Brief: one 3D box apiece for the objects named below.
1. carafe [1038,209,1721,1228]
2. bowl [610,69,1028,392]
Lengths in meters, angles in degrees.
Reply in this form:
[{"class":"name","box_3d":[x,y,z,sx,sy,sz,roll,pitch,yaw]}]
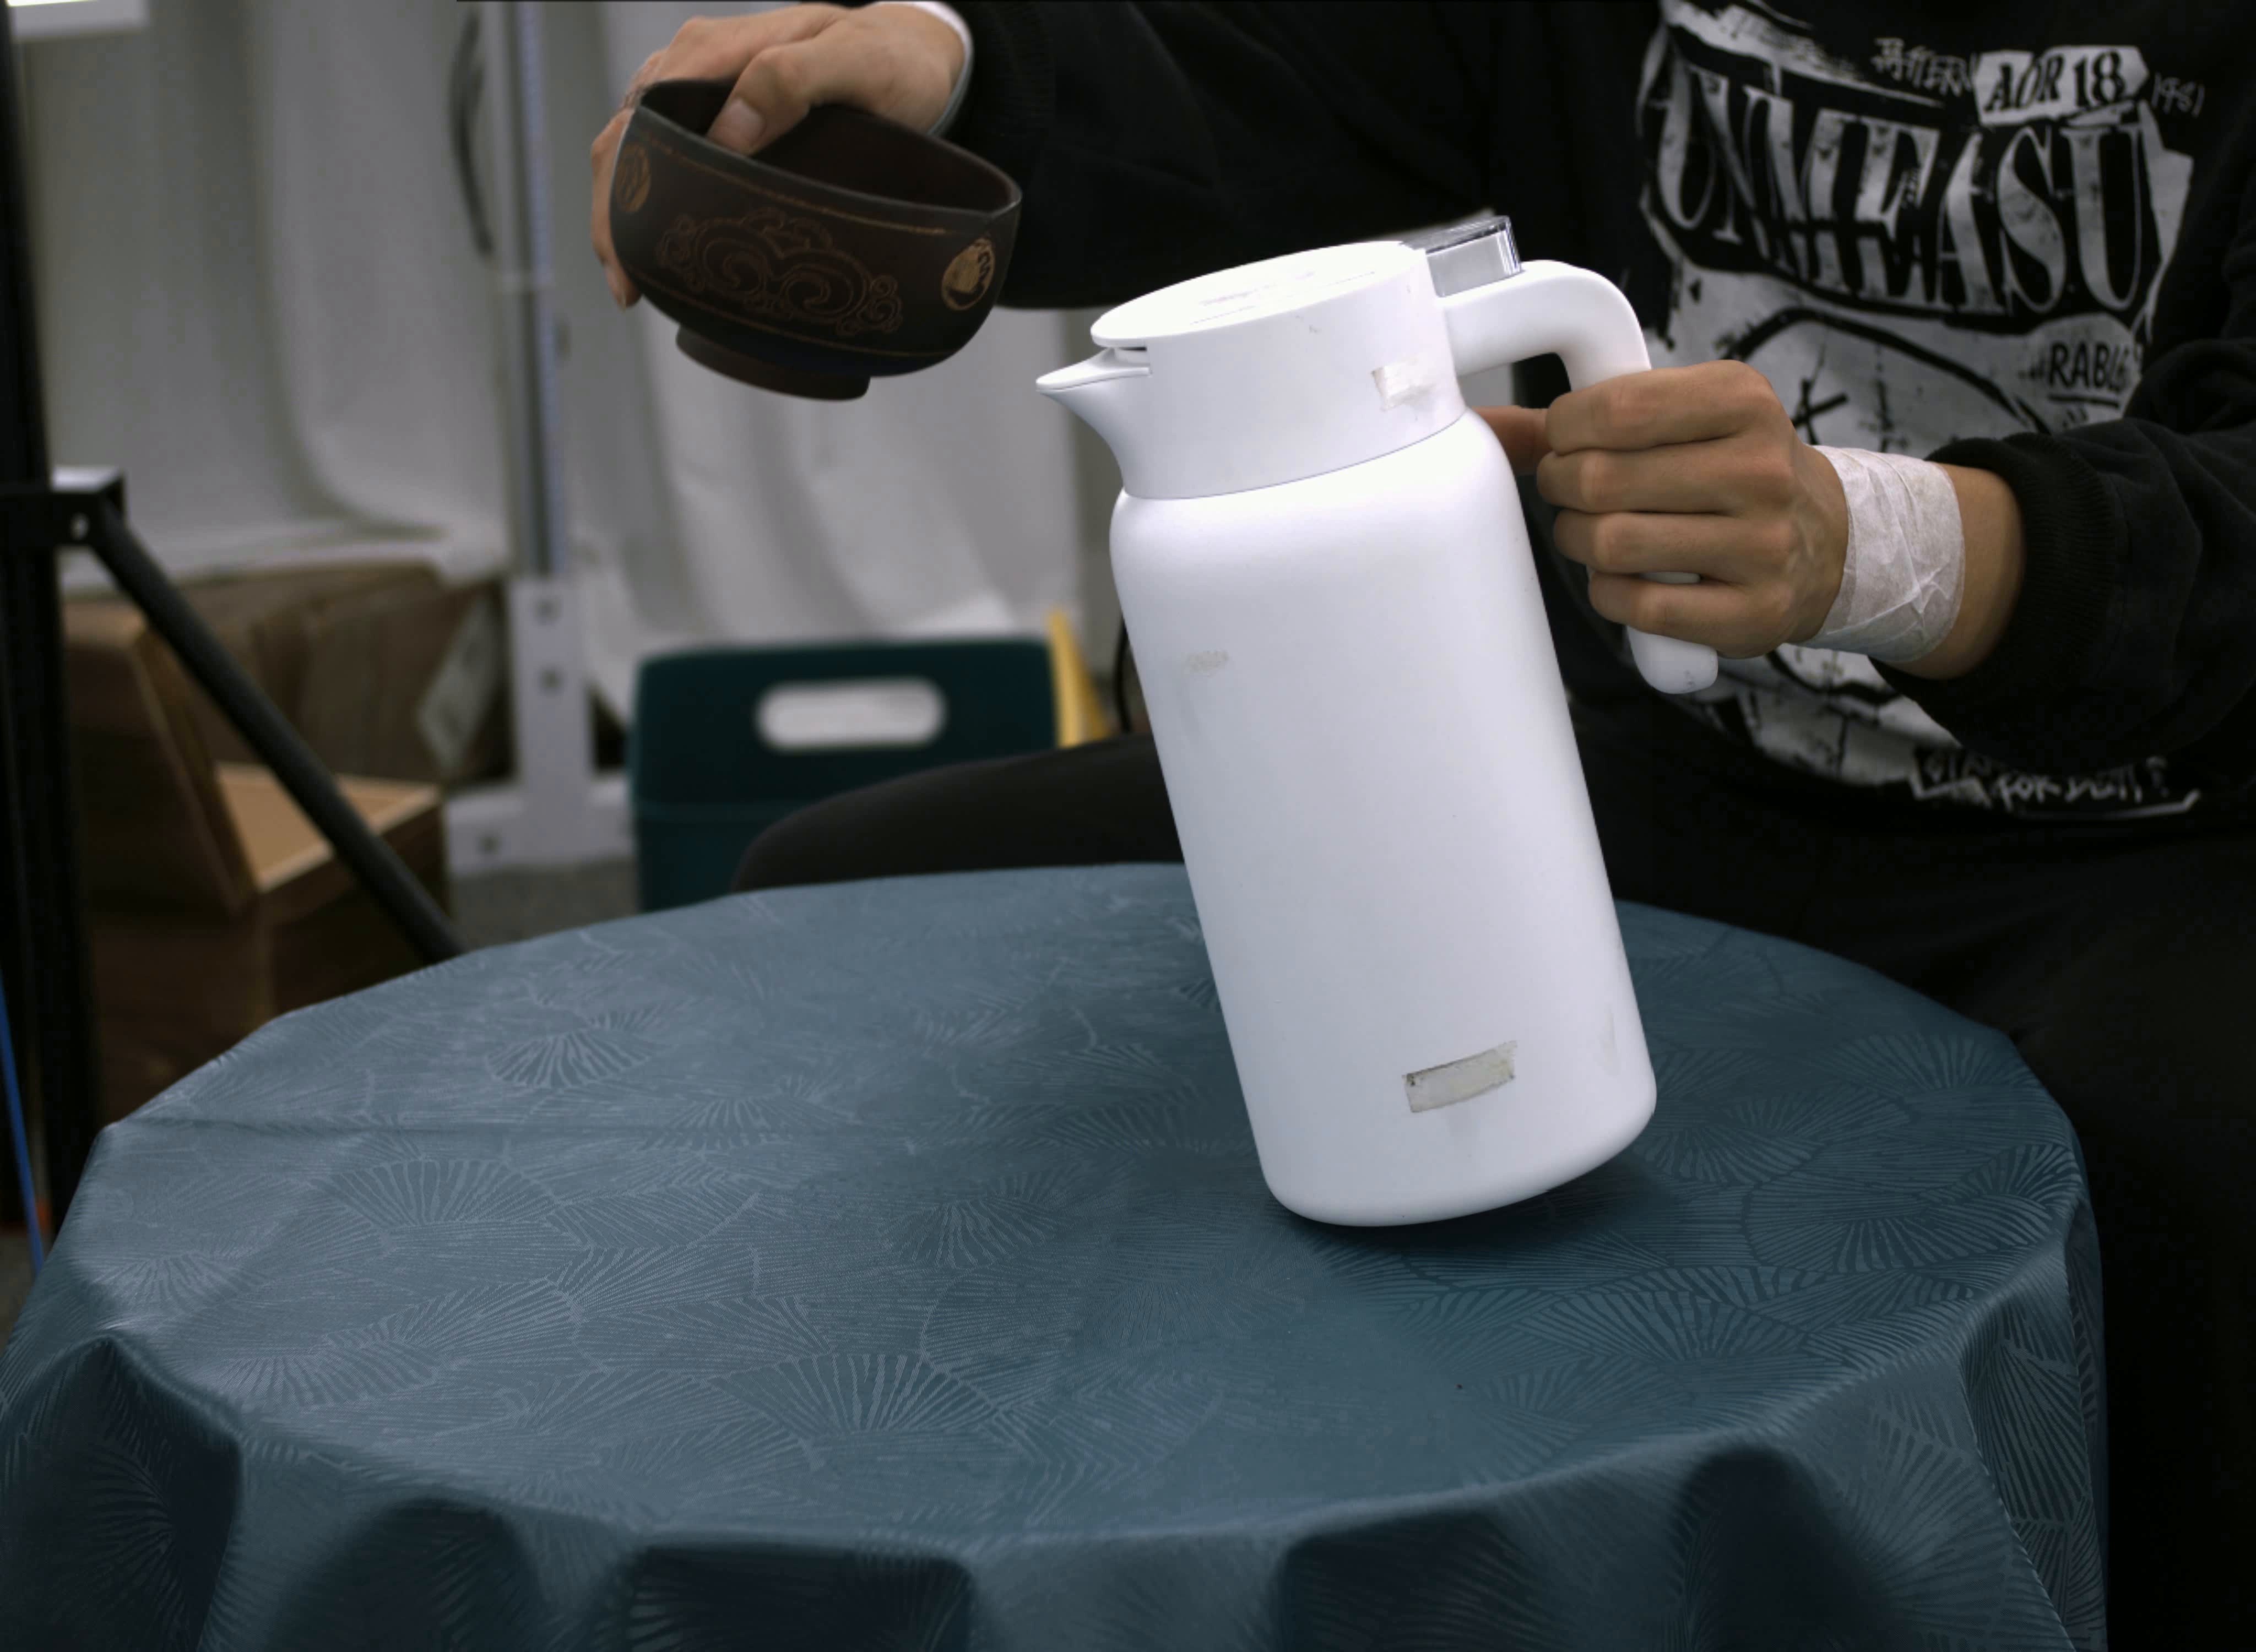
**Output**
[{"class":"carafe","box_3d":[0.085,-0.033,1.512,0.171,0.268,0.125,-17,11,-10]},{"class":"bowl","box_3d":[-0.092,-0.166,1.530,0.117,0.070,0.119,14,17,-6]}]
